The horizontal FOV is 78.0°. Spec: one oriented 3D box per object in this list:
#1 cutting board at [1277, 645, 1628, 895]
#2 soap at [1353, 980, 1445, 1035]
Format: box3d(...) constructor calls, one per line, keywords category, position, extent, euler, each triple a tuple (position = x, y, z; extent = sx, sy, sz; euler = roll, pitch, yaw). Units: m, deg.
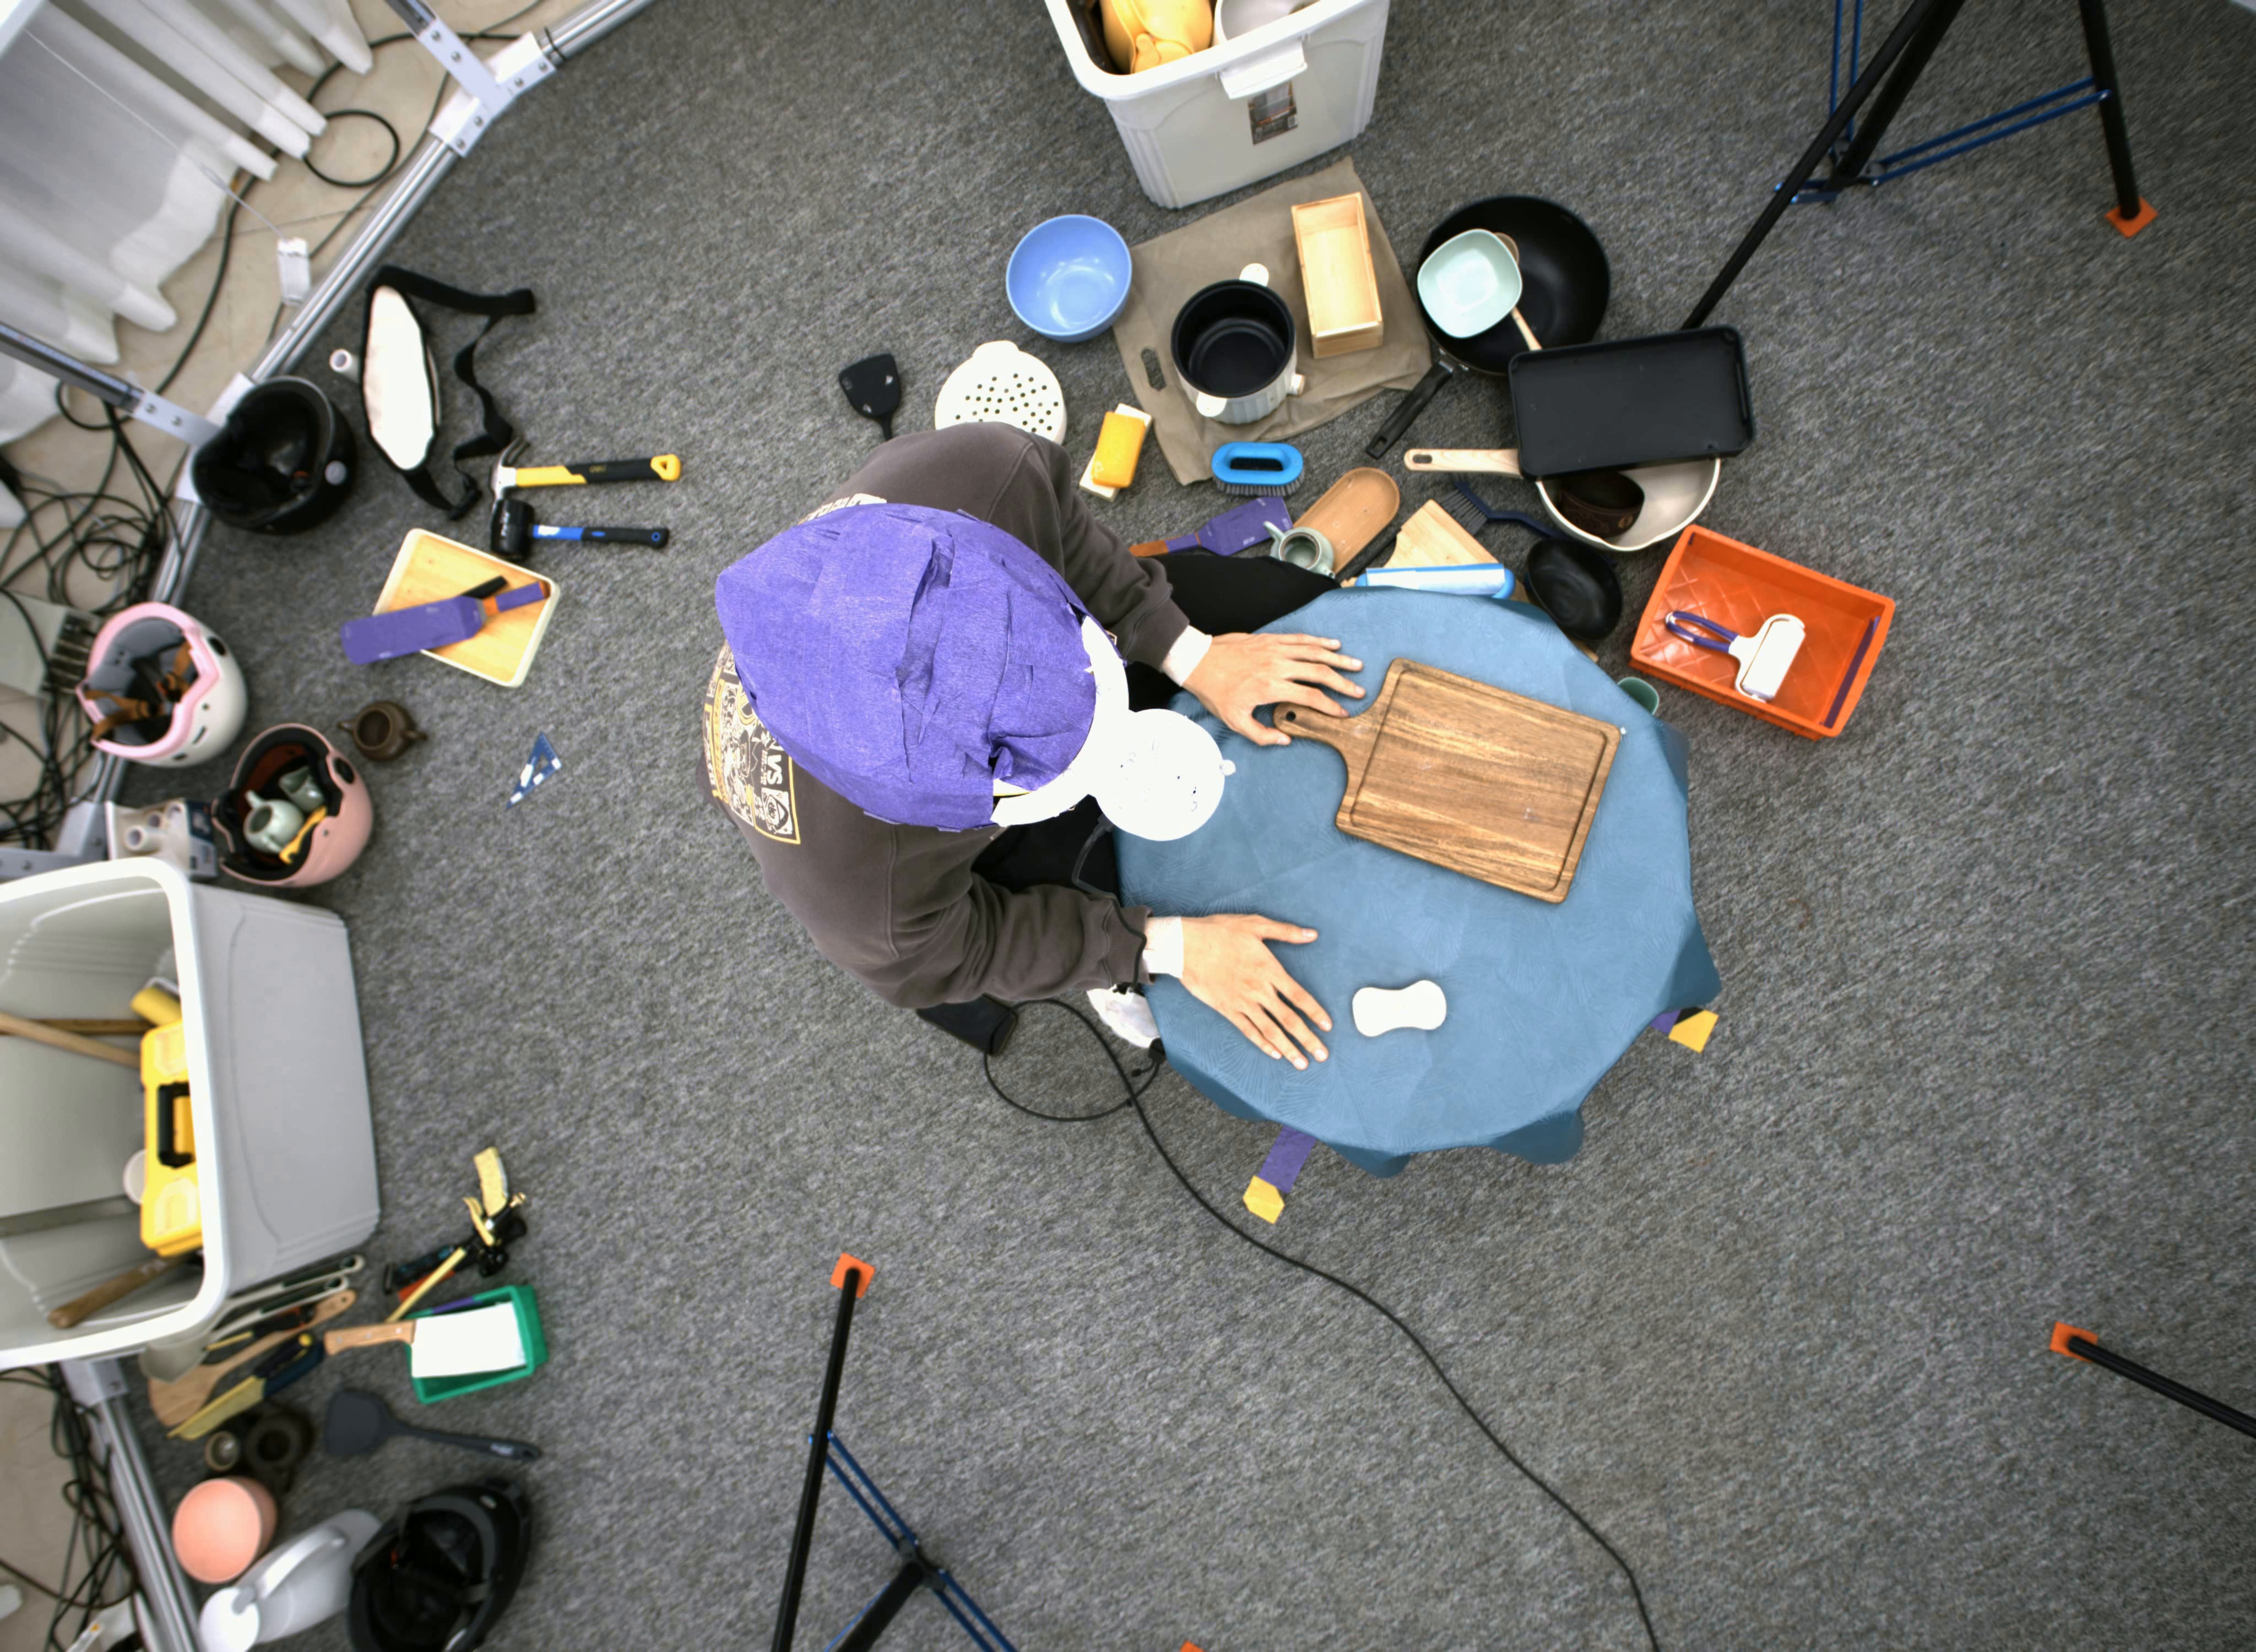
box3d(category="cutting board", position=(0.325, -0.079, 1.444), extent=(0.352, 0.023, 0.201), euler=(20, 91, 11))
box3d(category="soap", position=(0.281, 0.187, 1.436), extent=(0.095, 0.030, 0.050), euler=(-8, 85, 11))
